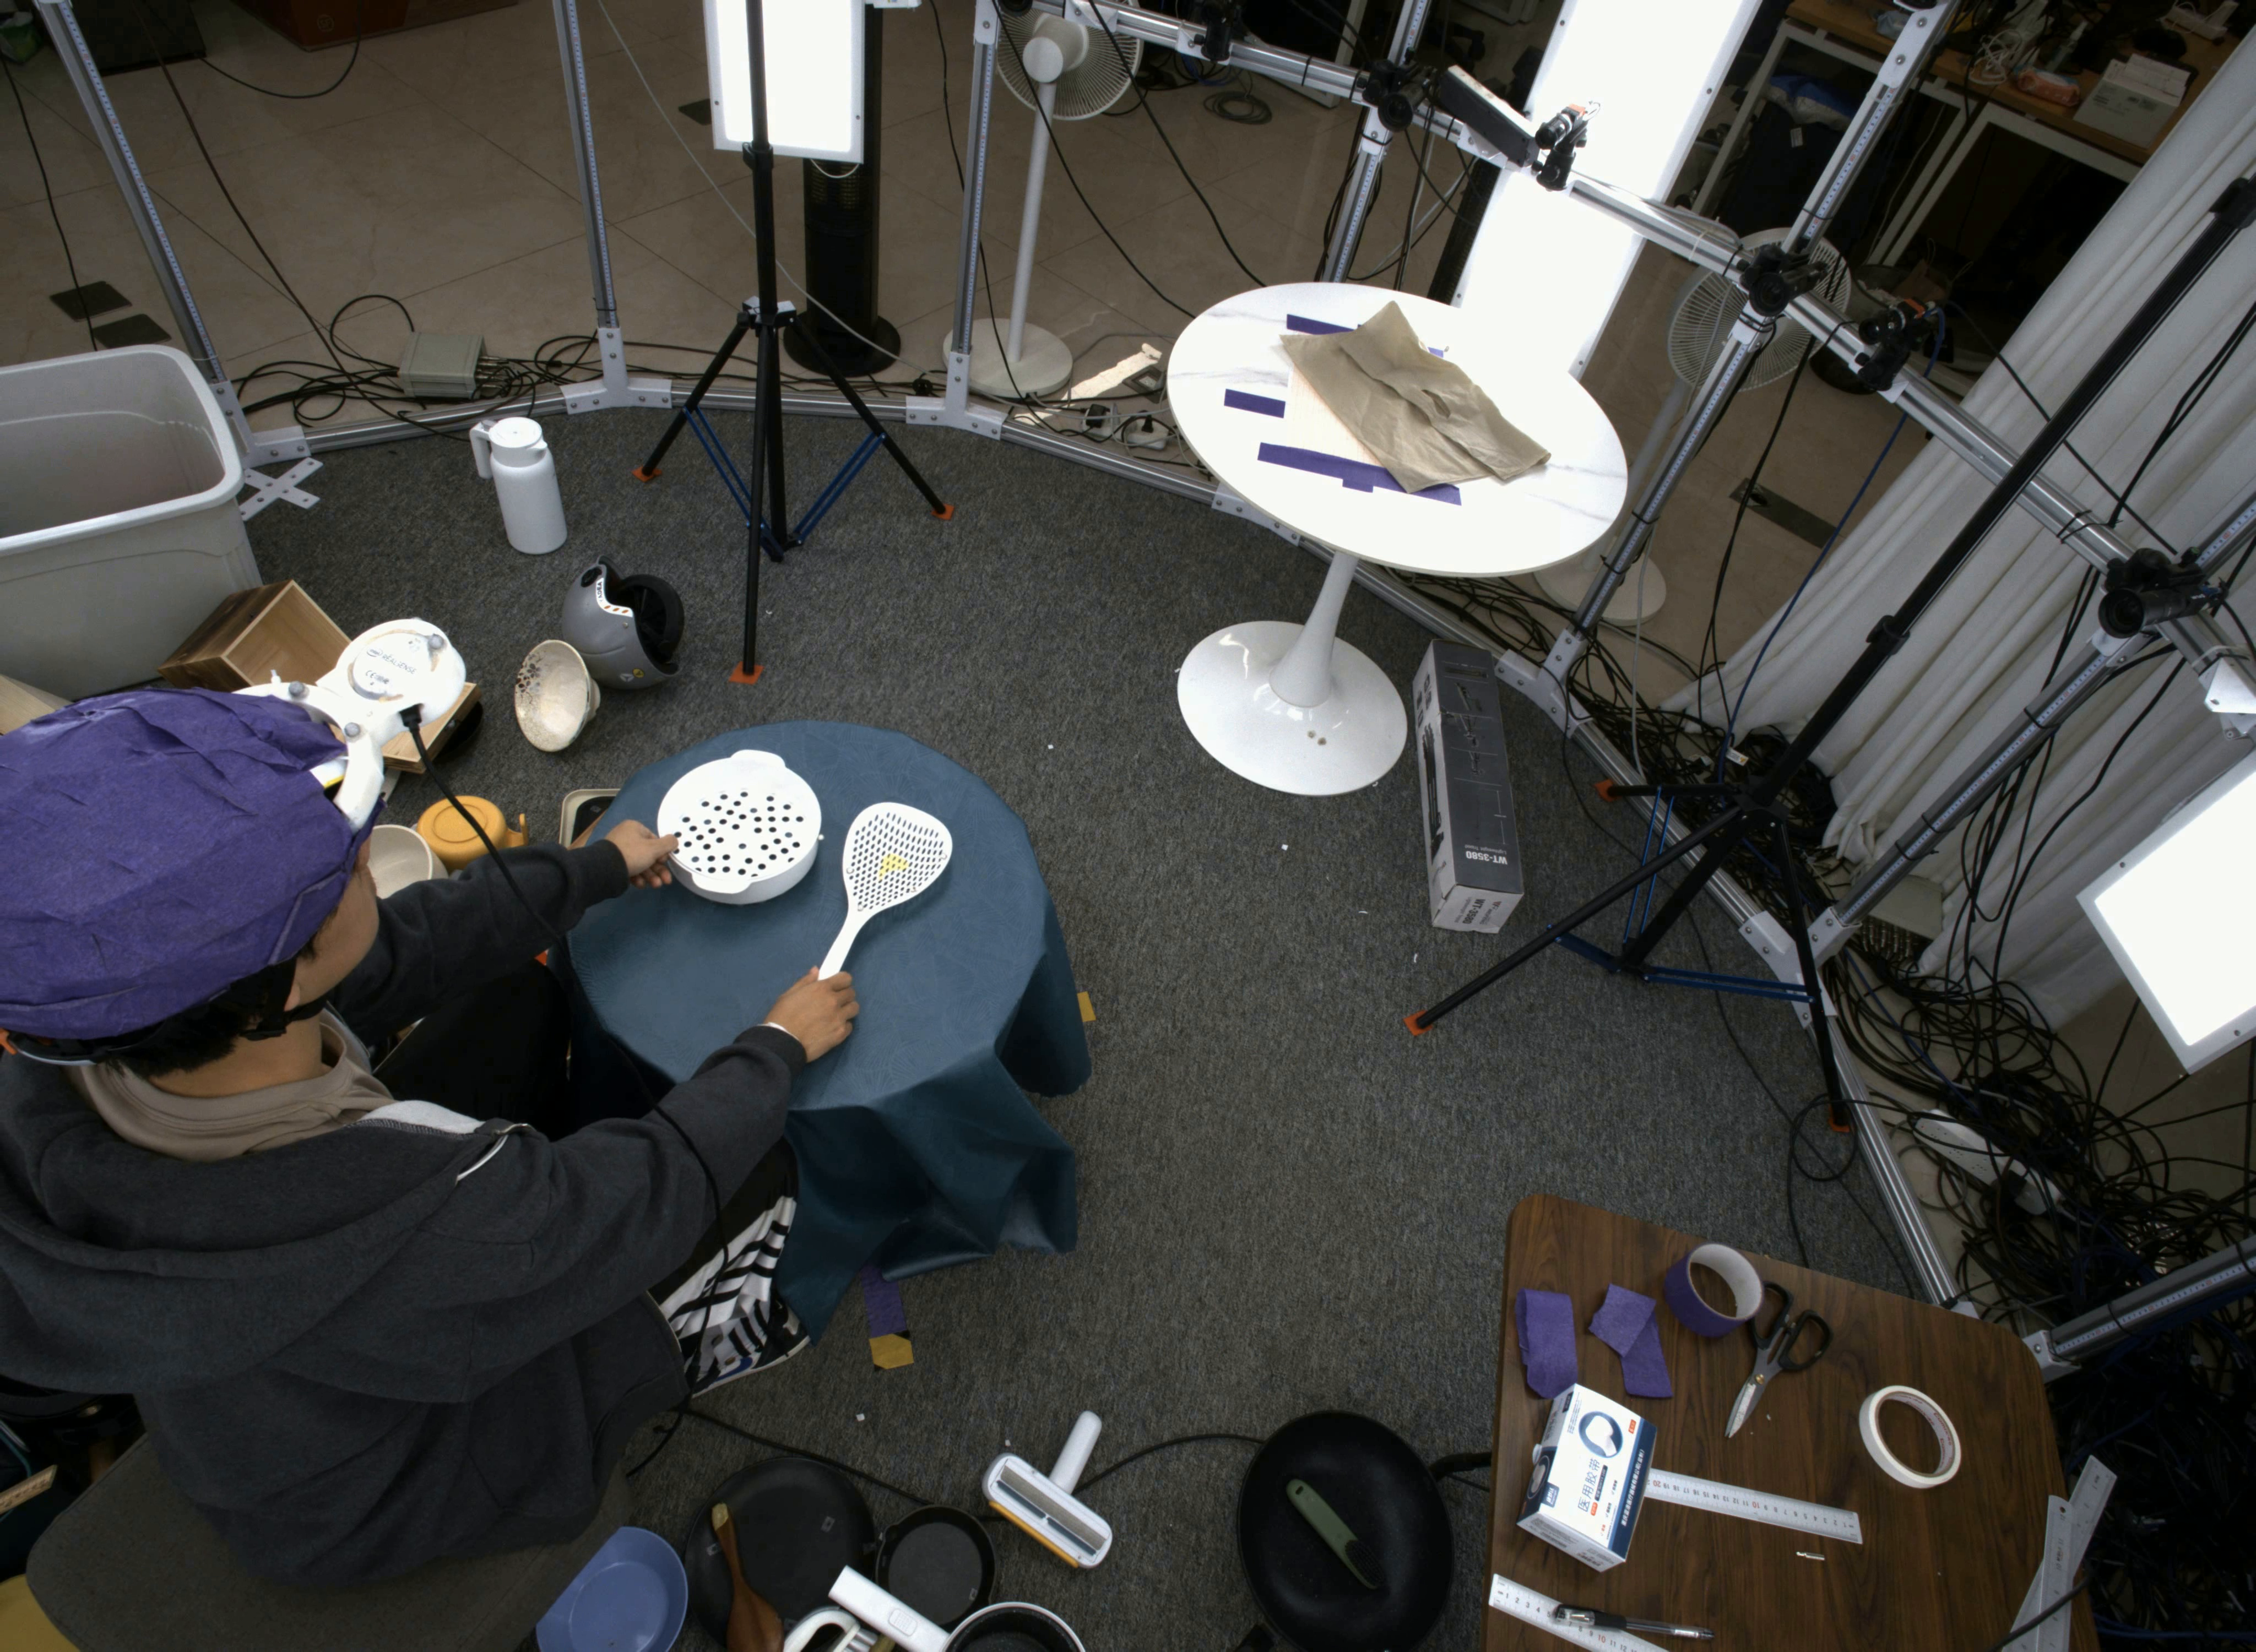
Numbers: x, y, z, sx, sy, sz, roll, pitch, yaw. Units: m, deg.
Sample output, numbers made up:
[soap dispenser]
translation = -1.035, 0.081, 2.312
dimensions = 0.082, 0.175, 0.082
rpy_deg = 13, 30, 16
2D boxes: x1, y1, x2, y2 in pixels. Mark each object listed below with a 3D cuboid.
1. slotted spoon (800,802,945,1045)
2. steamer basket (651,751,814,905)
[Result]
[slotted spoon]
translation = -0.343, 0.115, 1.636
dimensions = 0.136, 0.051, 0.344
rpy_deg = 23, 51, -4
[steamer basket]
translation = -0.505, 0.007, 1.658
dimensions = 0.201, 0.071, 0.226
rpy_deg = 9, 50, -7
